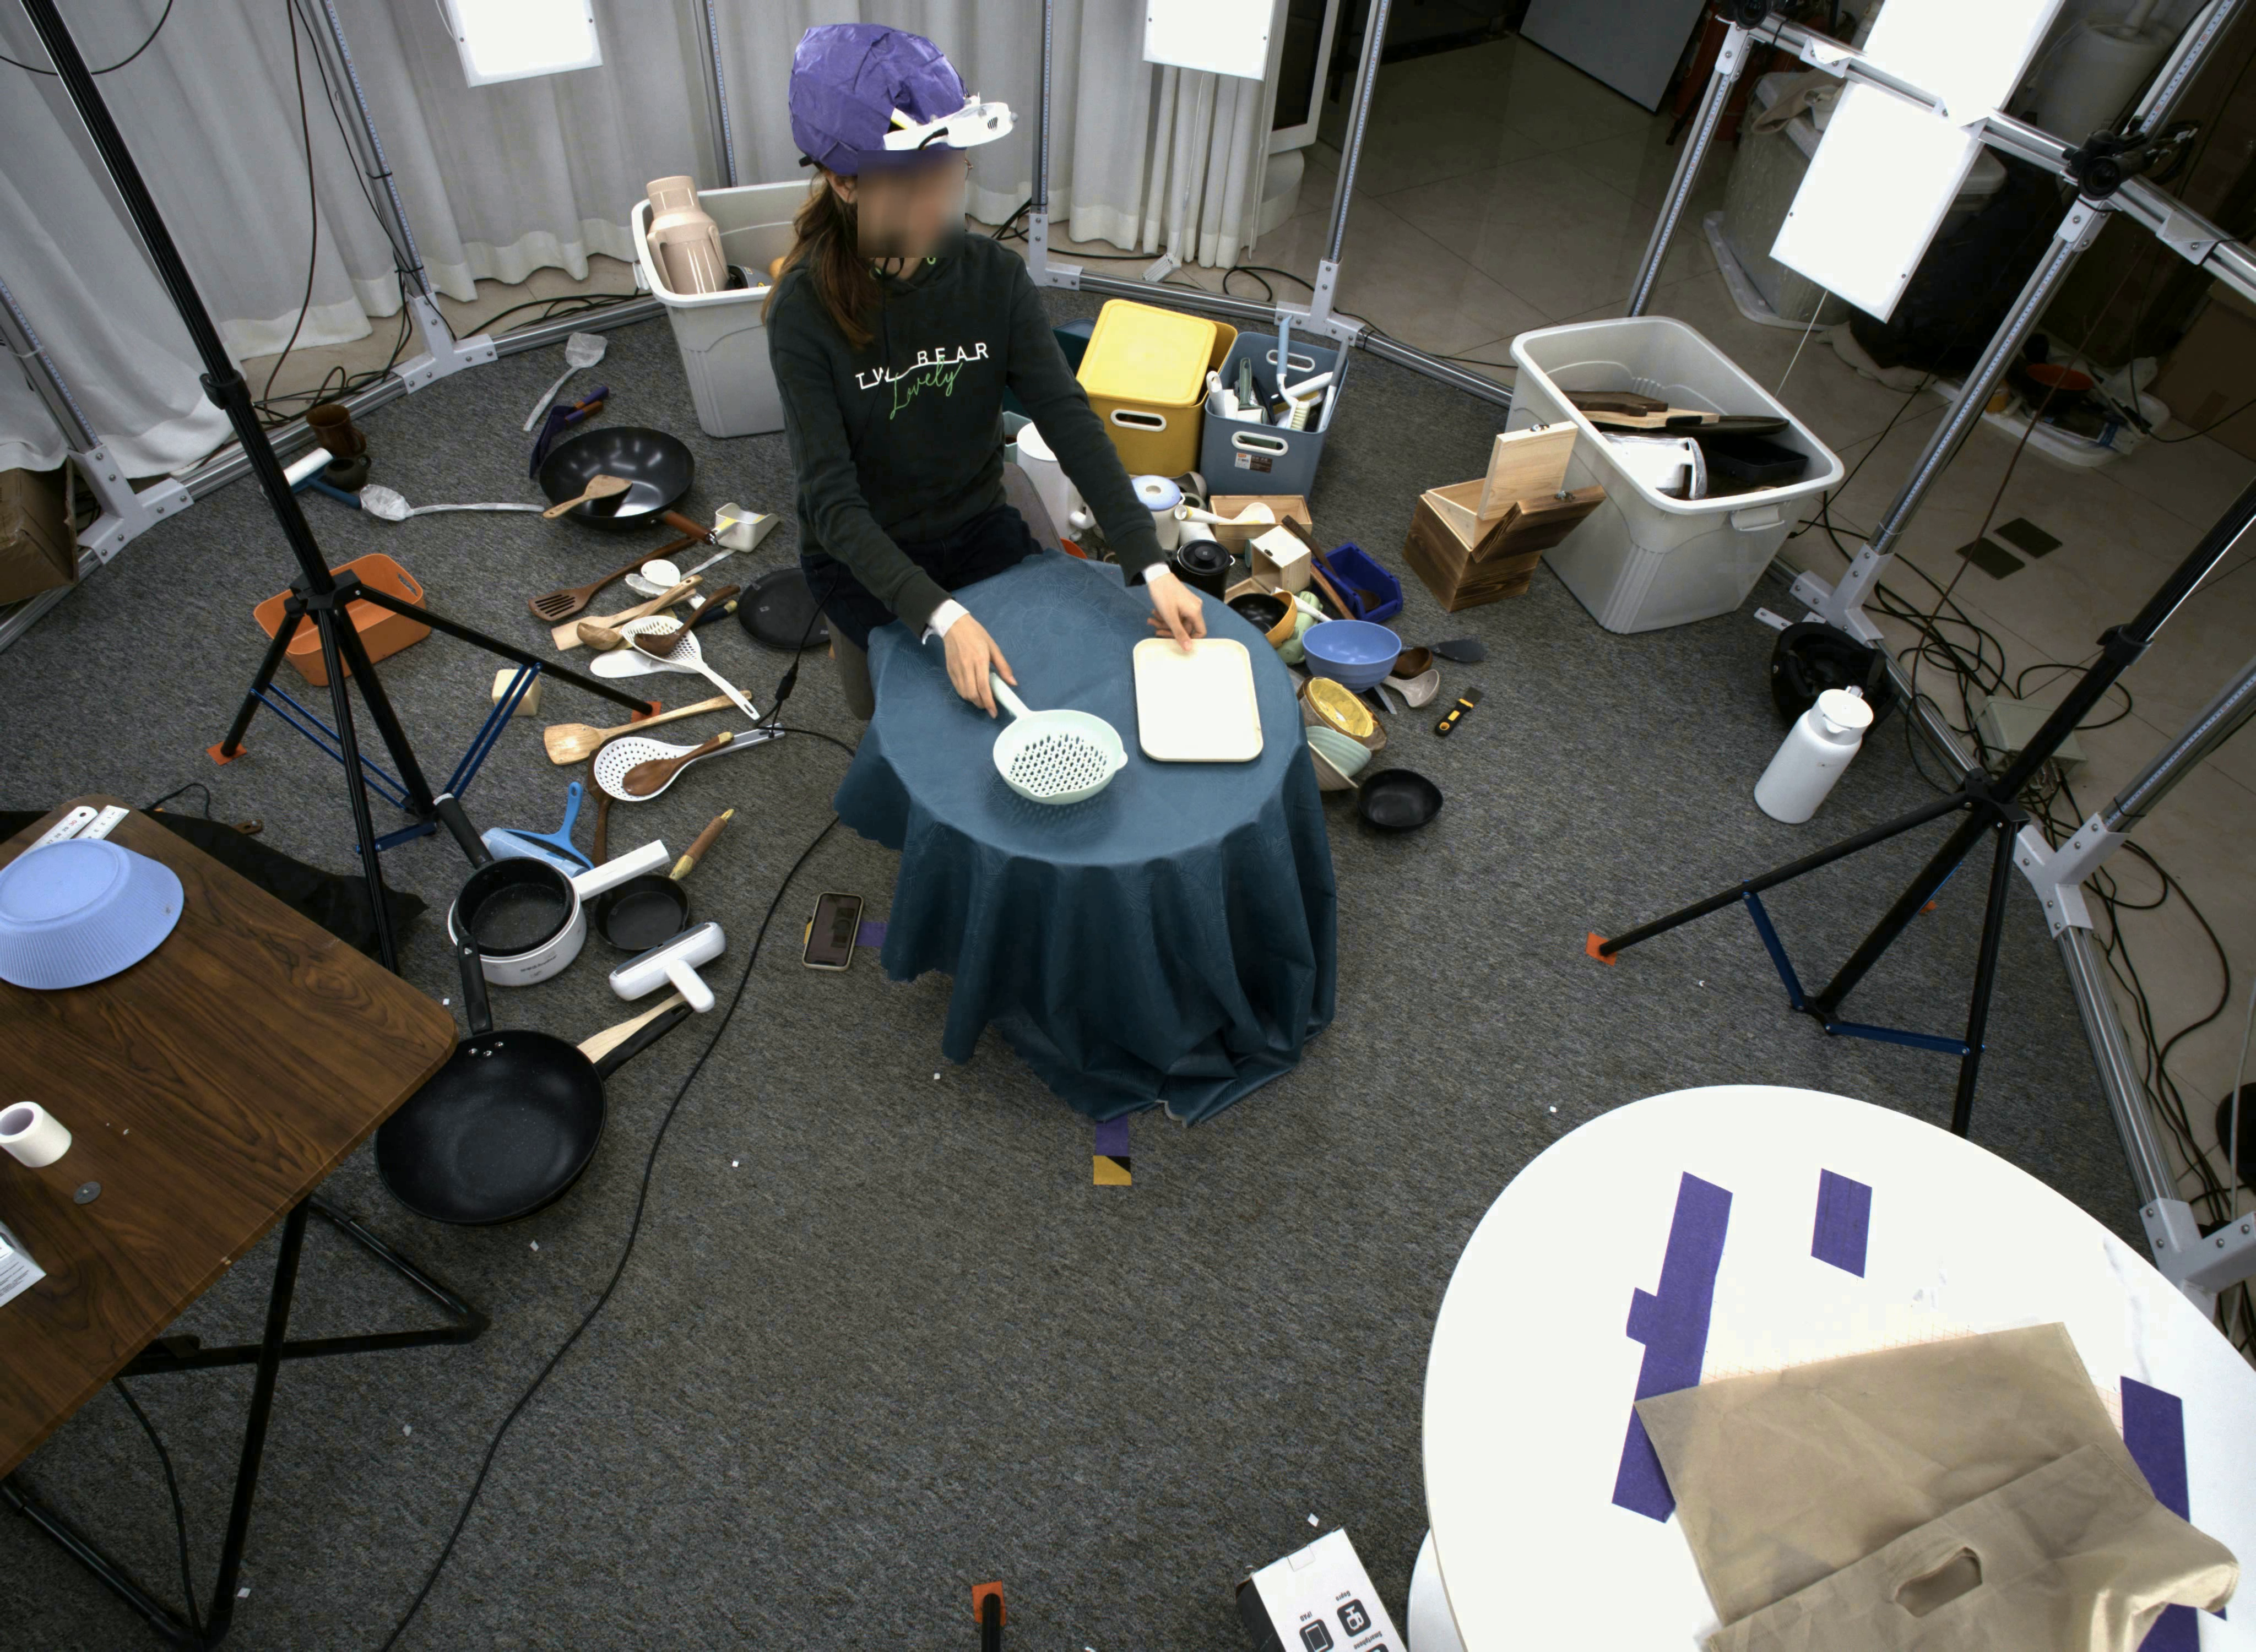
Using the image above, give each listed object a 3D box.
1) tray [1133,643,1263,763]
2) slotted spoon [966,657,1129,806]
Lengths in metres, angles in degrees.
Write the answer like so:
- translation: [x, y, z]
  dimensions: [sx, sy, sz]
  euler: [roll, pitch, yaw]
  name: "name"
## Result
- translation: [0.097, -0.177, 1.834]
  dimensions: [0.171, 0.017, 0.246]
  euler: [0, 48, -4]
  name: "tray"
- translation: [-0.140, -0.146, 1.761]
  dimensions: [0.170, 0.073, 0.366]
  euler: [-22, 53, -22]
  name: "slotted spoon"
